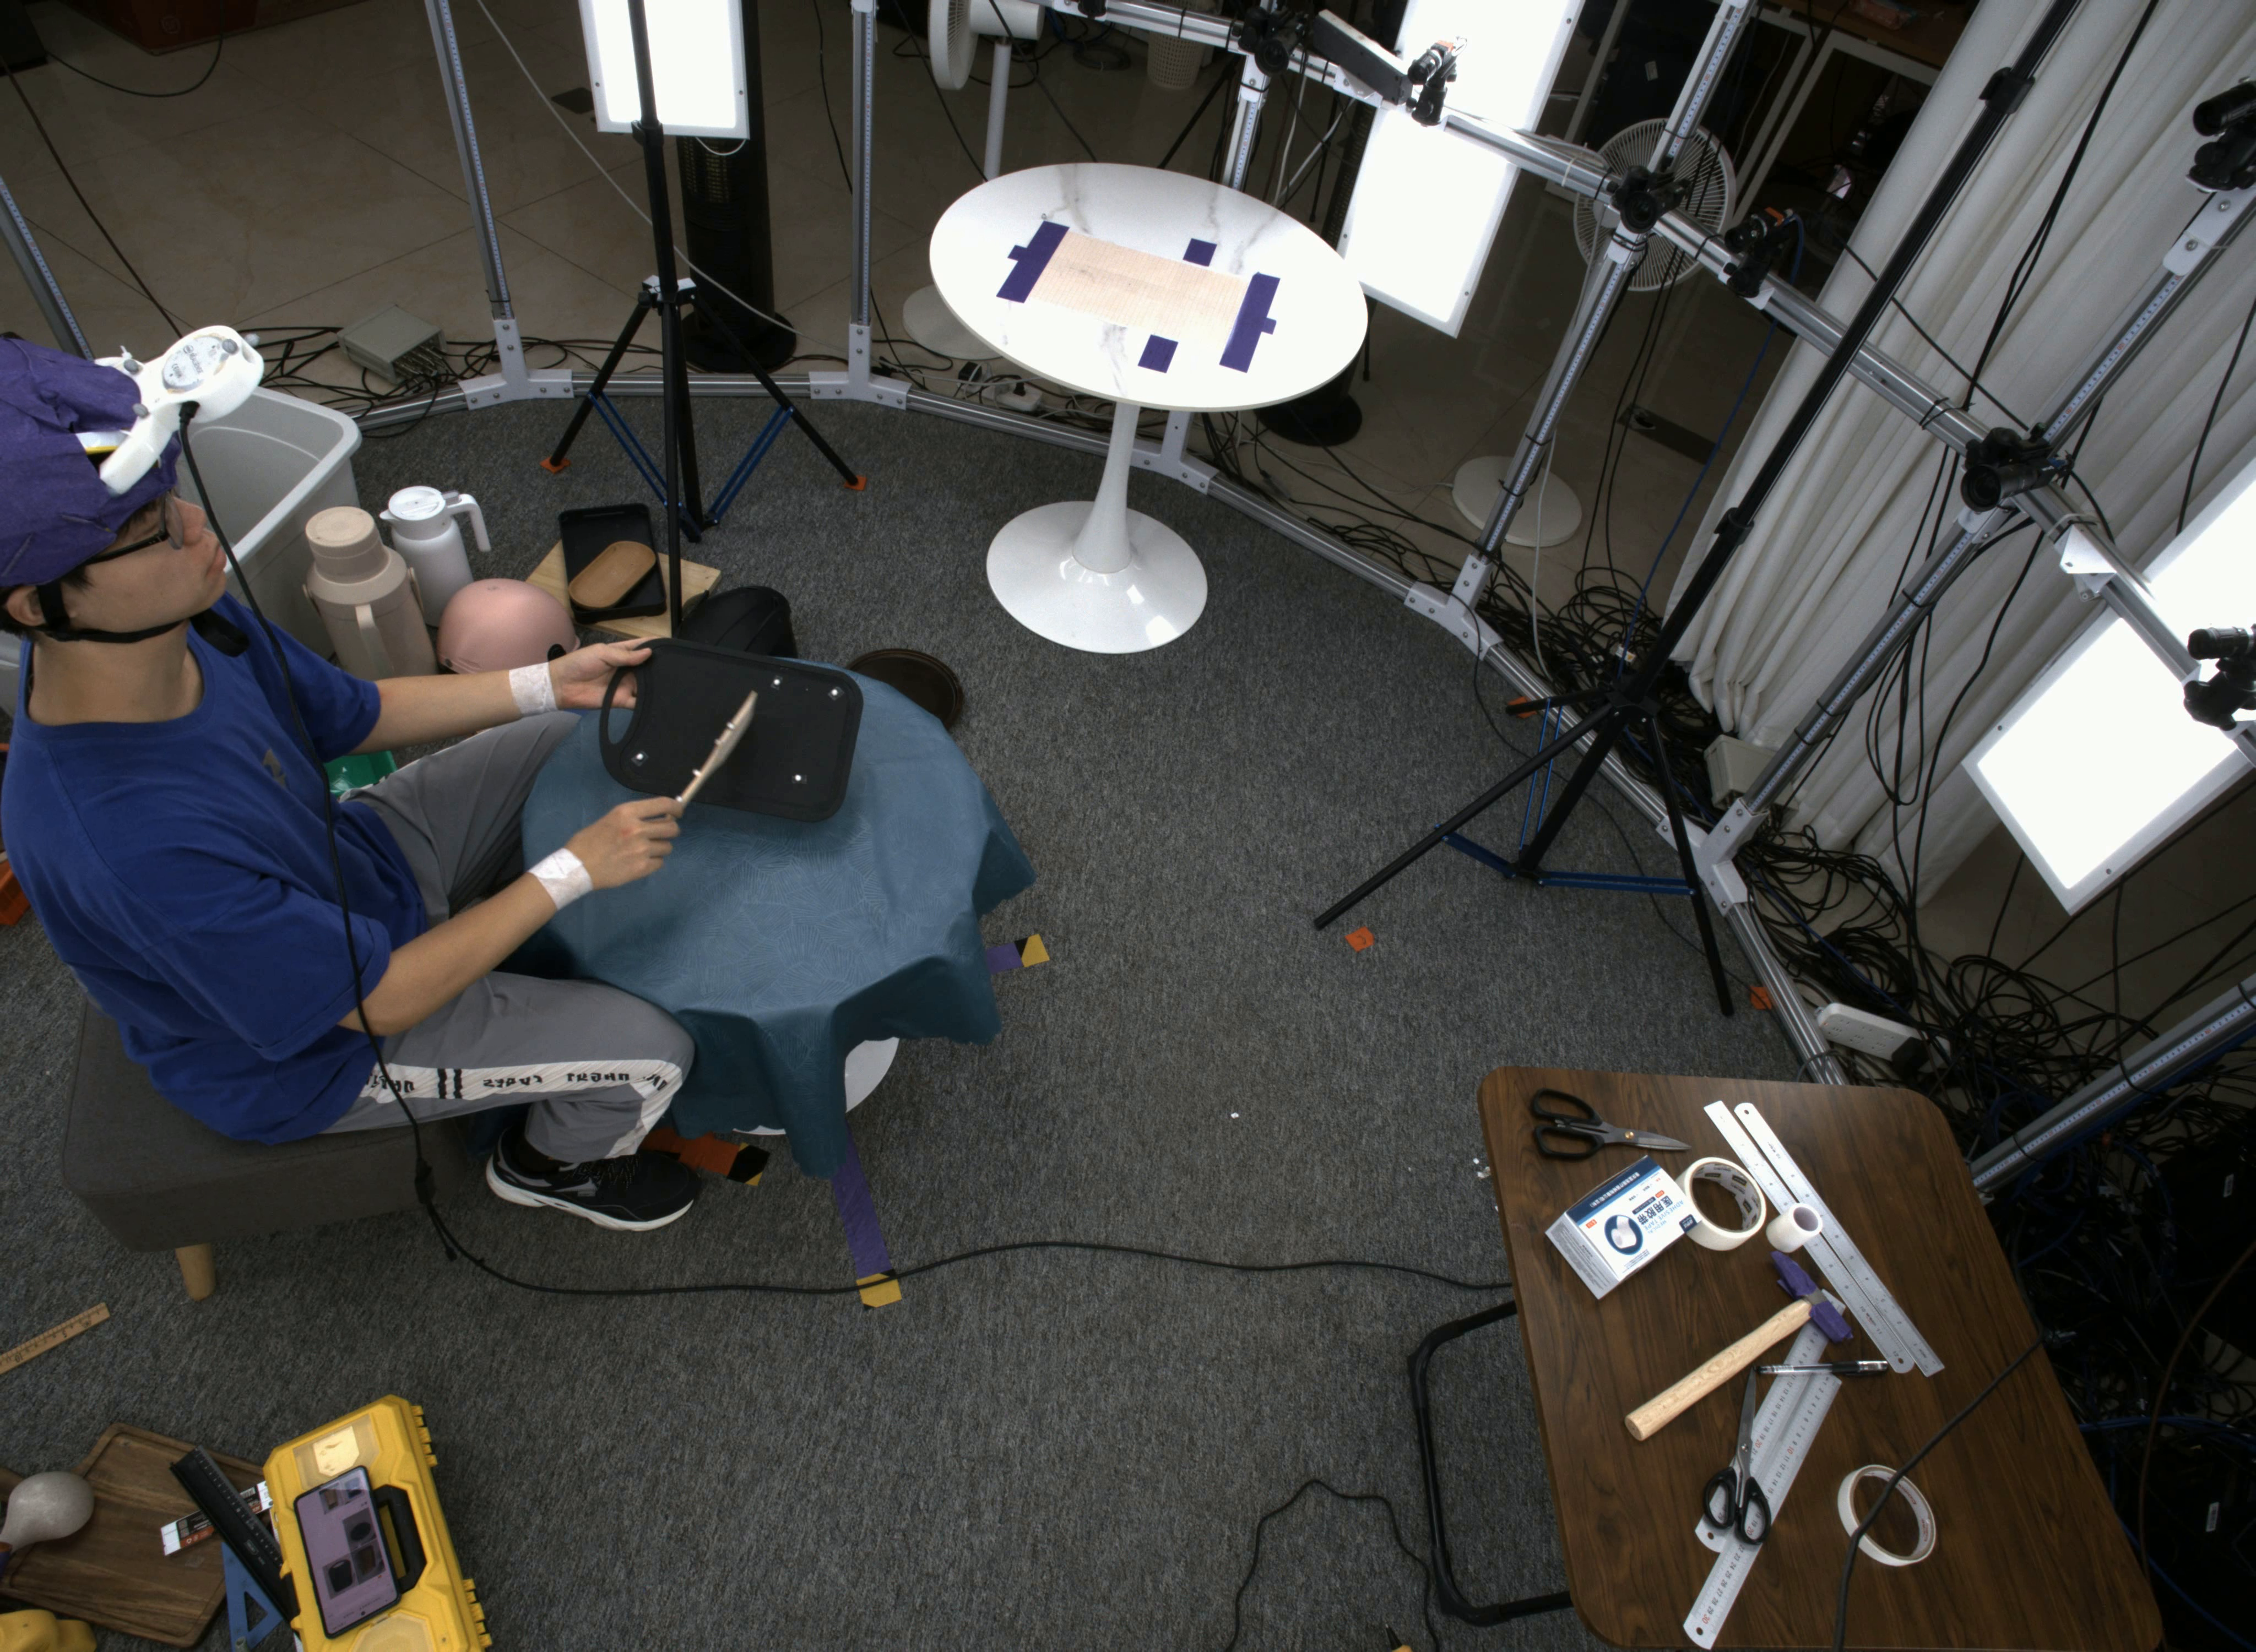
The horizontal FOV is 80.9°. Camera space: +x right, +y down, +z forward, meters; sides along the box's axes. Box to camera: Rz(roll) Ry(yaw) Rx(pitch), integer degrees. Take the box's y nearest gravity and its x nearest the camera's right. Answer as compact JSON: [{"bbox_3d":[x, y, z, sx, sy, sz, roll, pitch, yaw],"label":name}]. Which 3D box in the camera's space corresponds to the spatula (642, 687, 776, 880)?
[{"bbox_3d":[-0.516,-0.052,1.594,0.011,0.072,0.292,32,61,-7],"label":"spatula"}]

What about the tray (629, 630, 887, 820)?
[{"bbox_3d":[-0.487,-0.135,1.683,0.326,0.010,0.211,13,77,-11],"label":"tray"}]
